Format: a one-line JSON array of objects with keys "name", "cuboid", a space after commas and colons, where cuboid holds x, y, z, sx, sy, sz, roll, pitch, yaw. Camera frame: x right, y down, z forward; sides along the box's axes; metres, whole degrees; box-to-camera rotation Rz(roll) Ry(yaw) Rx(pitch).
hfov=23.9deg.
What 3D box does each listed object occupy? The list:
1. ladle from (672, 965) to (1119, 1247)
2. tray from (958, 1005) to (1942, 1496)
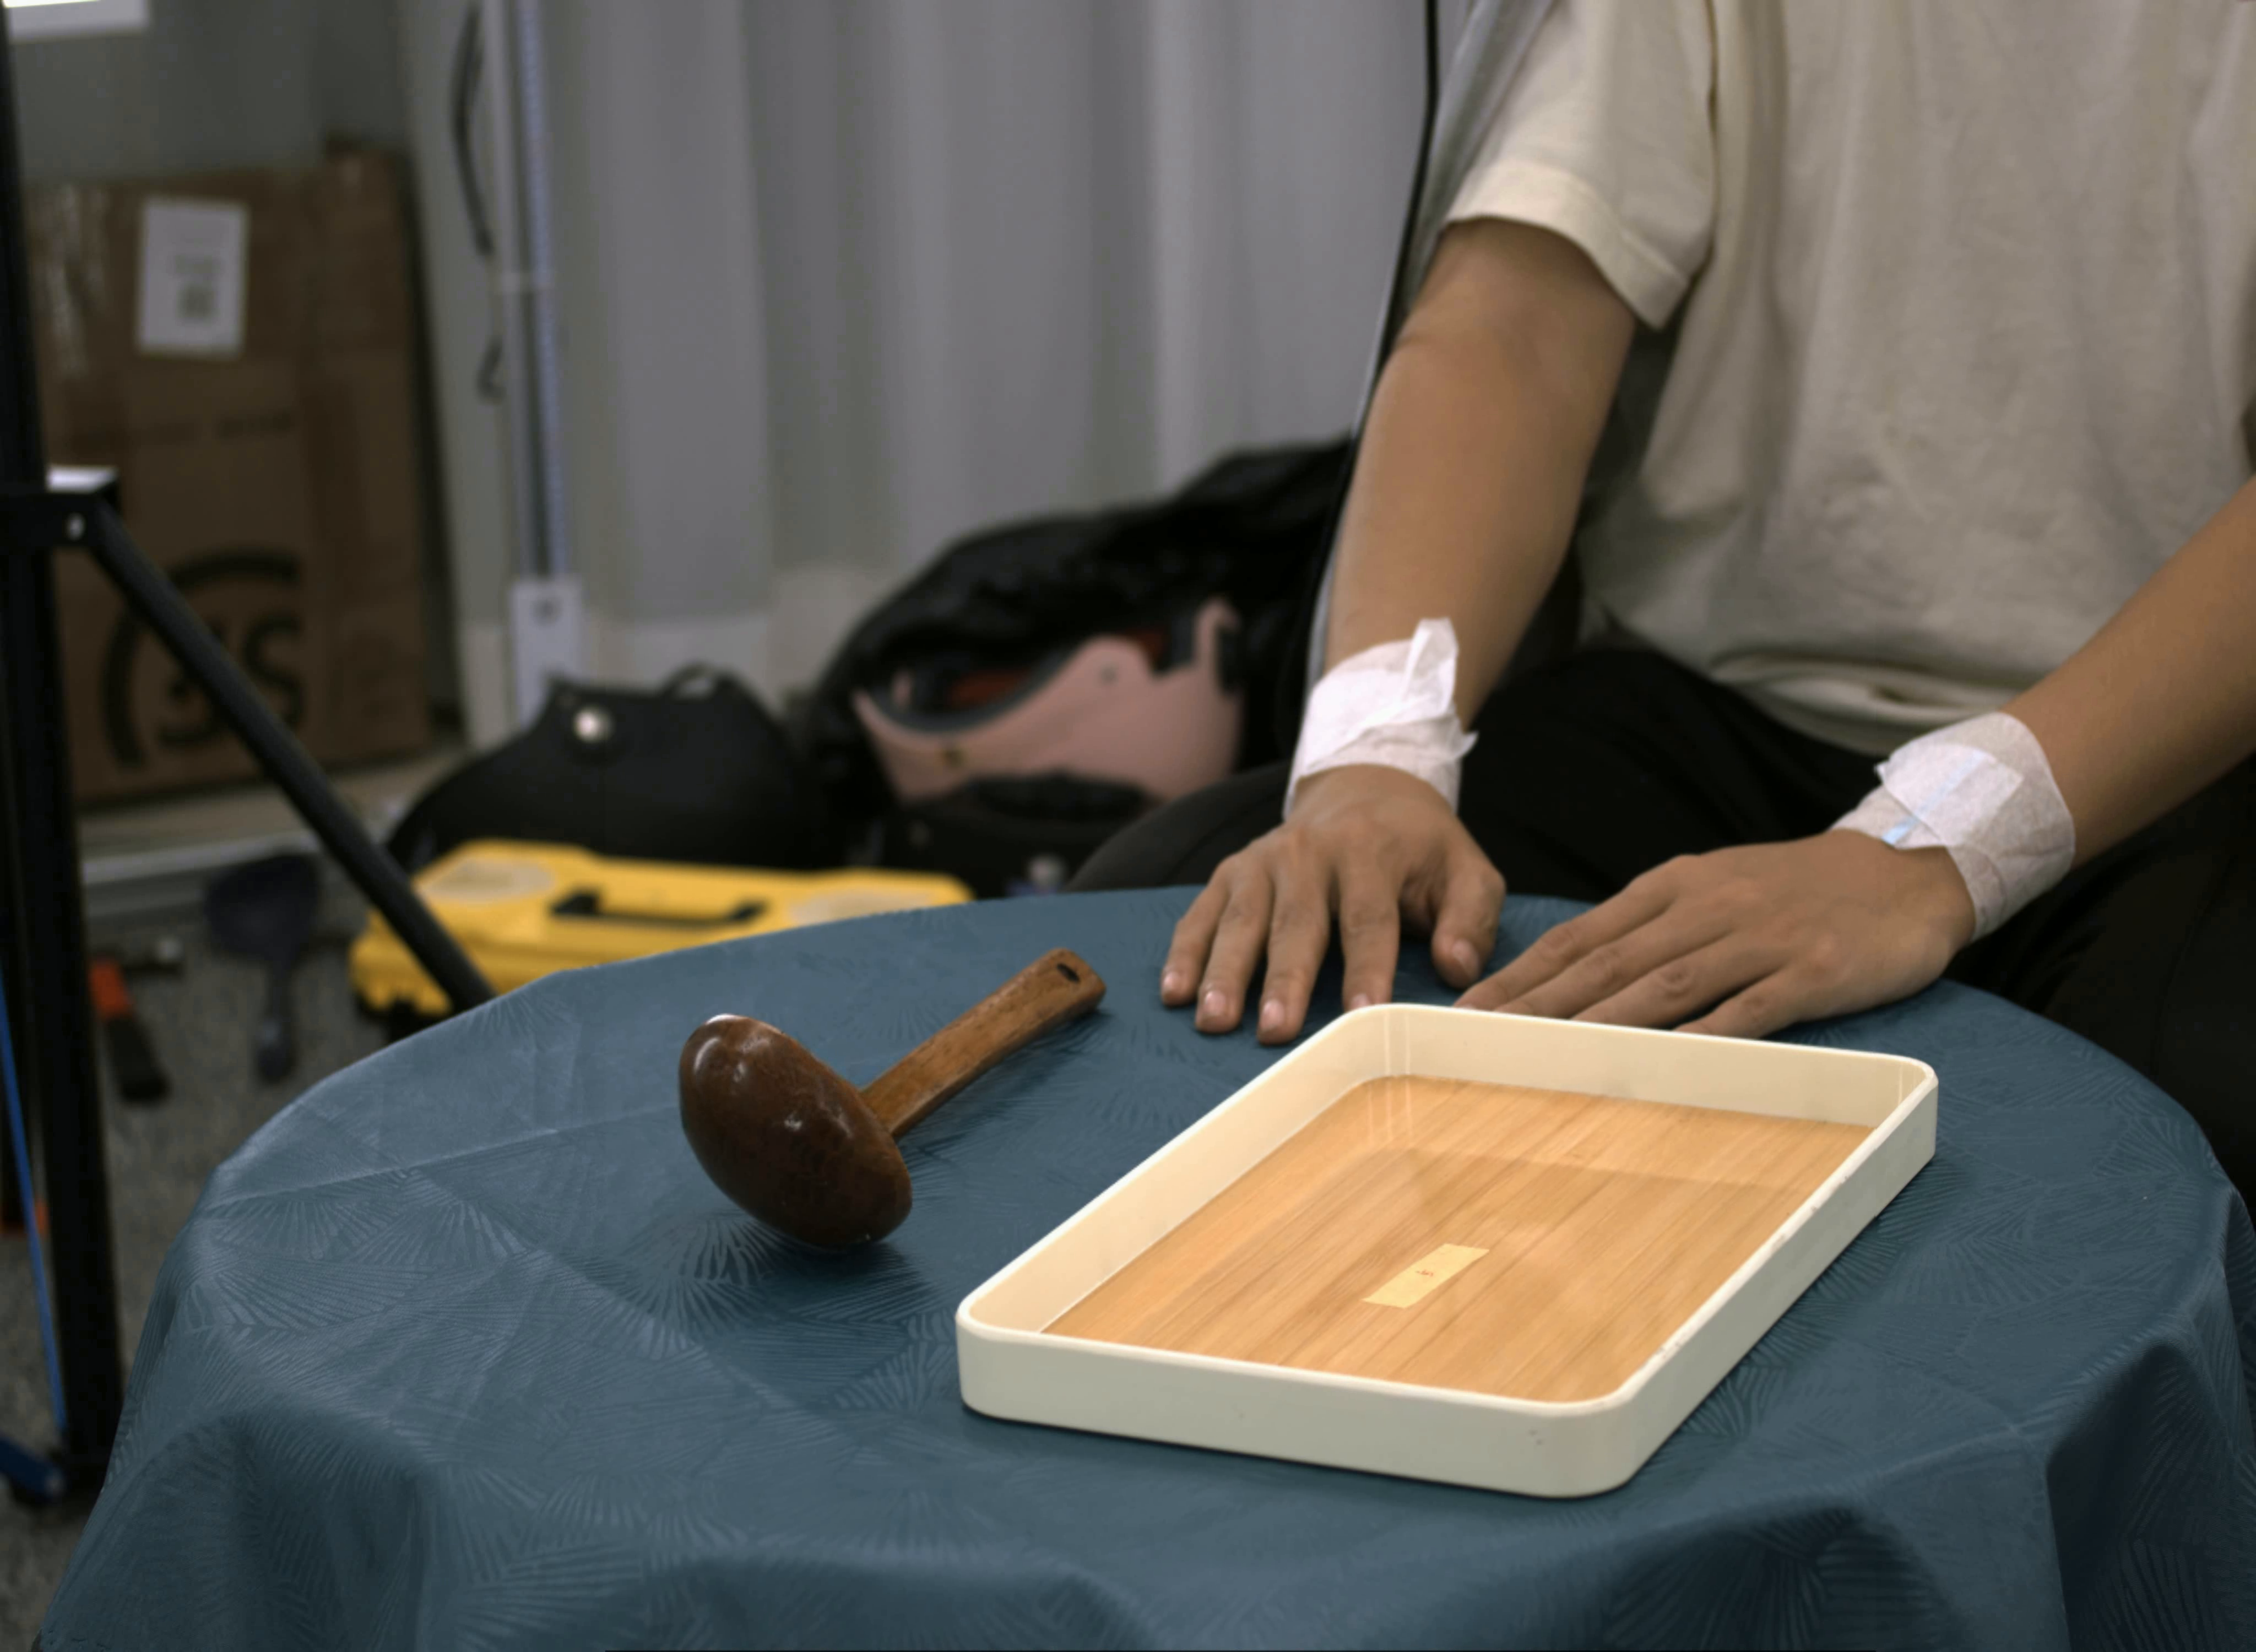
[{"name": "ladle", "cuboid": [-0.053, 0.062, 1.601, 0.082, 0.077, 0.270, 42, 28, 10]}, {"name": "tray", "cuboid": [0.098, 0.112, 1.474, 0.194, 0.027, 0.295, 5, 17, 26]}]
